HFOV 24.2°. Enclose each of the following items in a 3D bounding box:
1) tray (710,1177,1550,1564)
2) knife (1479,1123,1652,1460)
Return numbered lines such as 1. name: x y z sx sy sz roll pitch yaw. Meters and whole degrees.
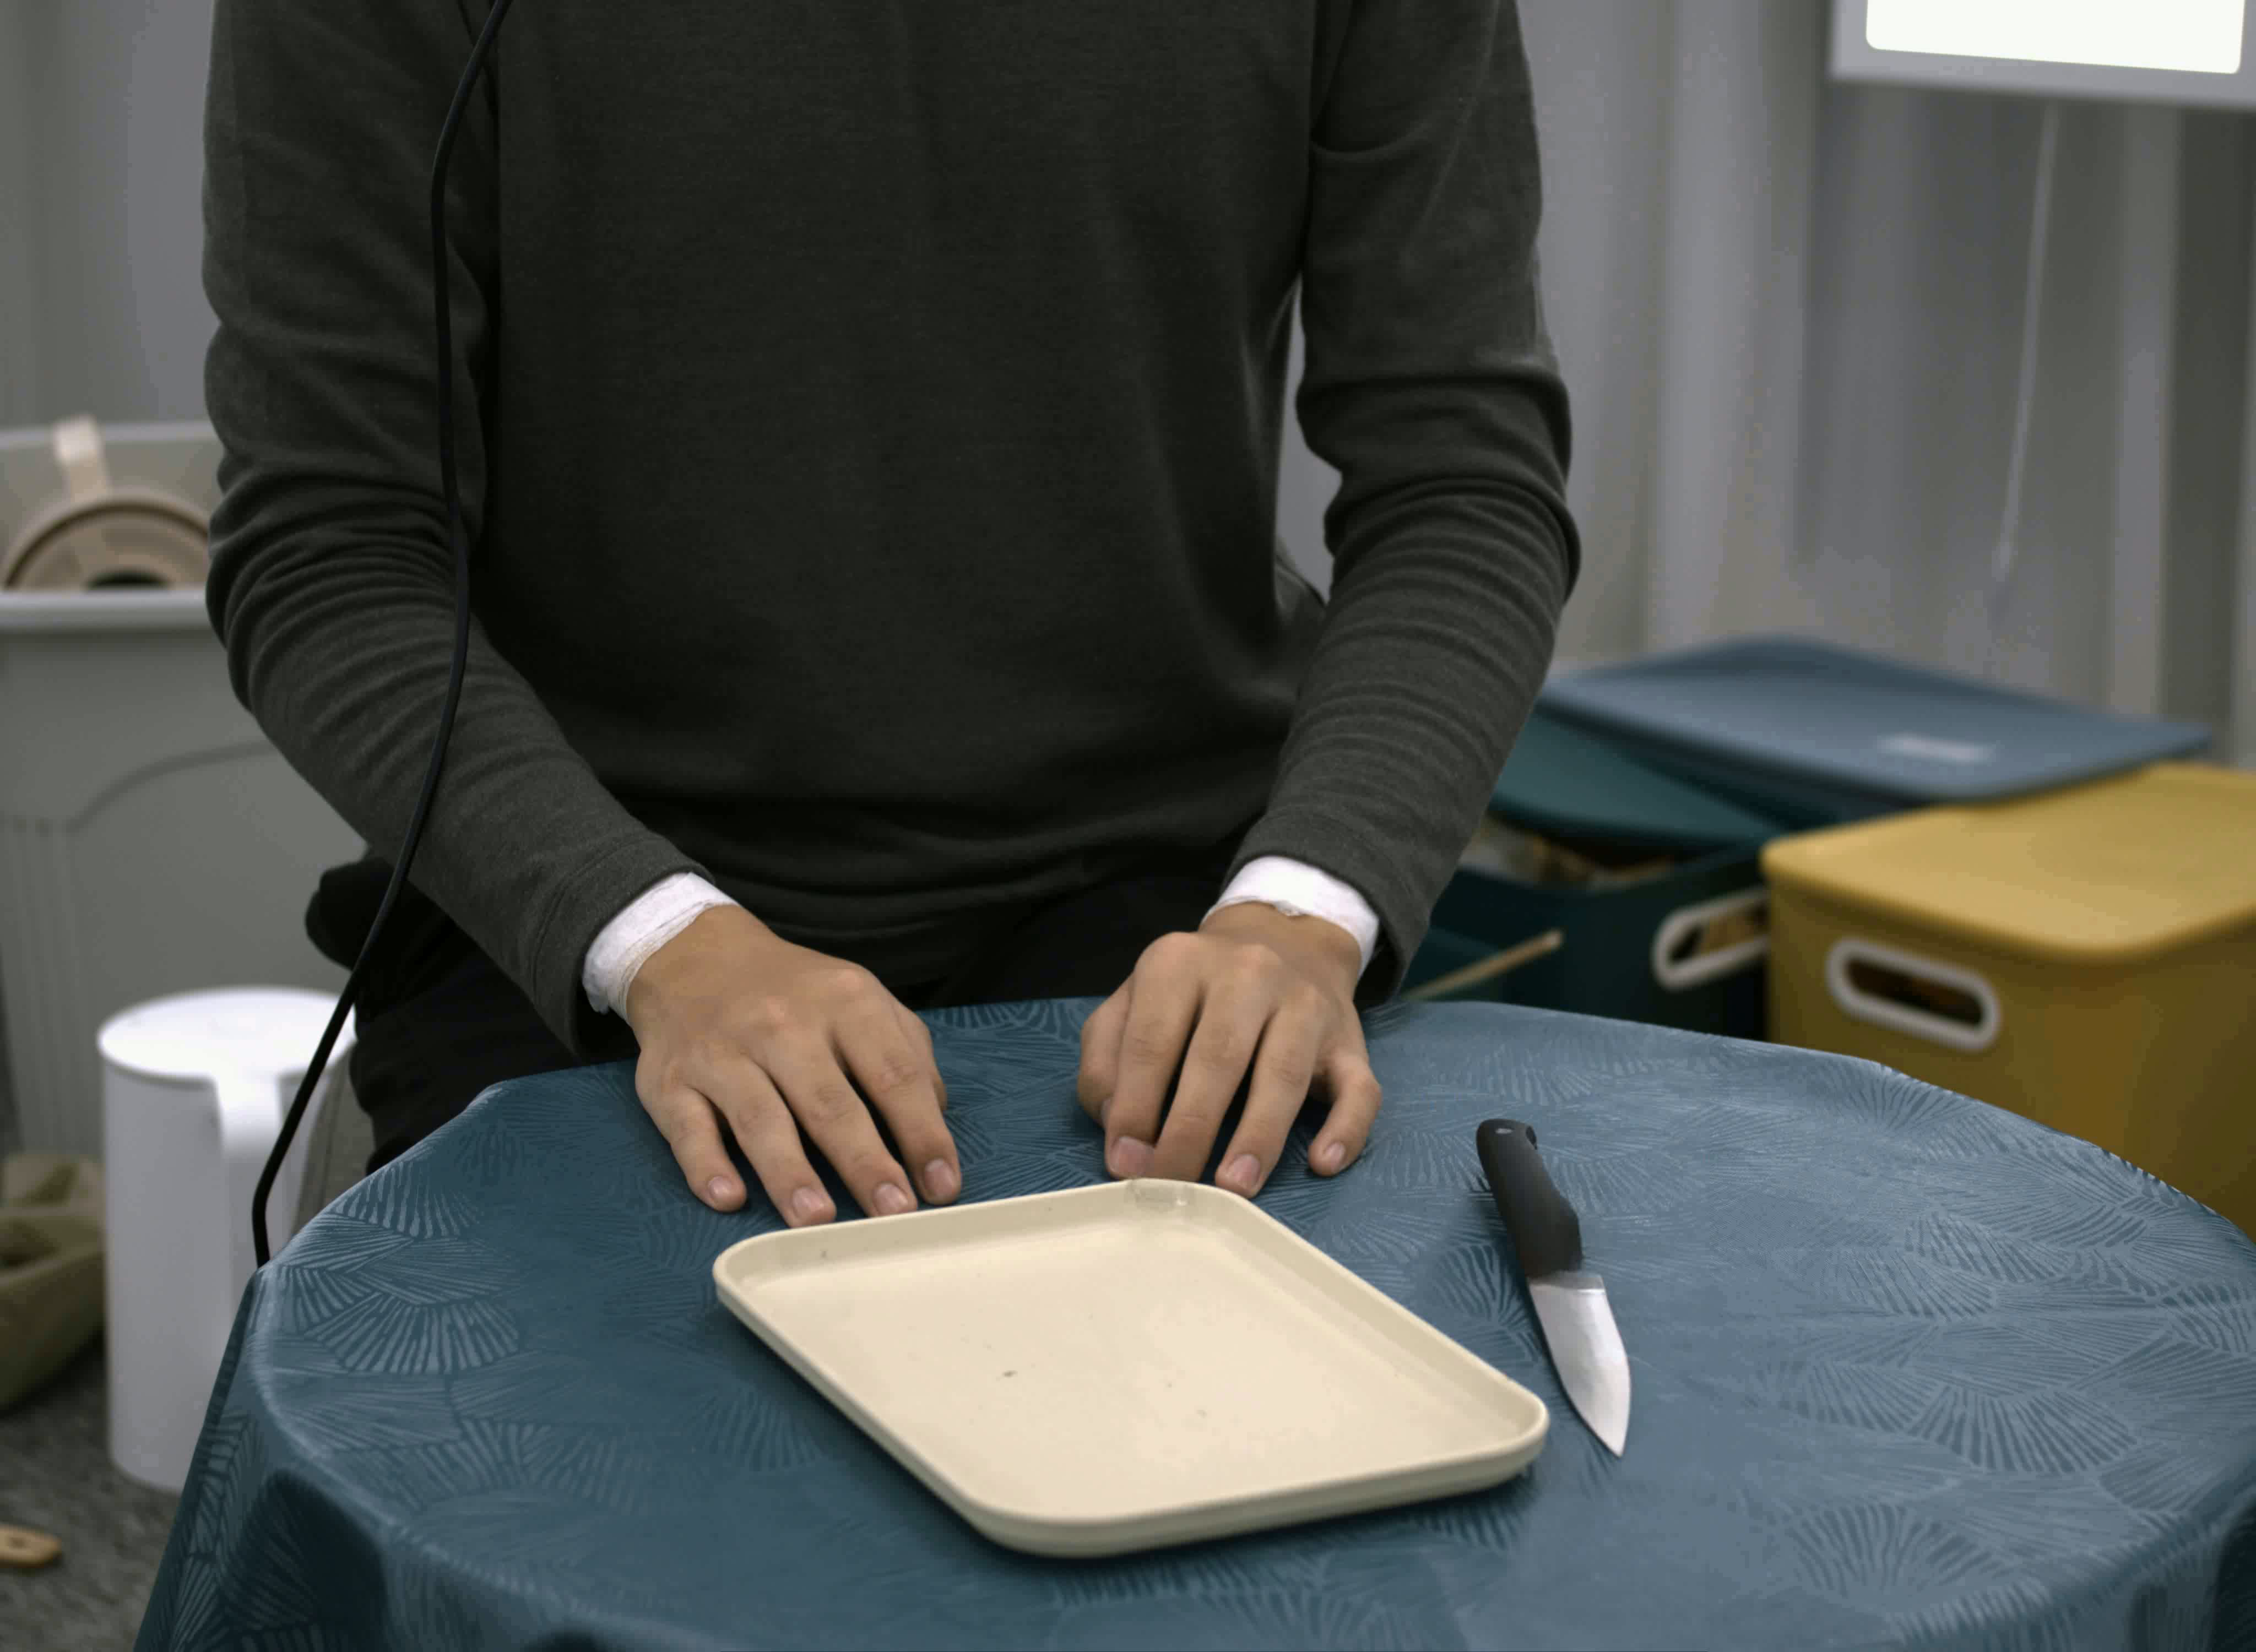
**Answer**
1. tray: -0.004 0.148 1.460 0.172 0.017 0.237 -7 17 -24
2. knife: 0.126 0.134 1.530 0.024 0.016 0.236 -4 18 -4
